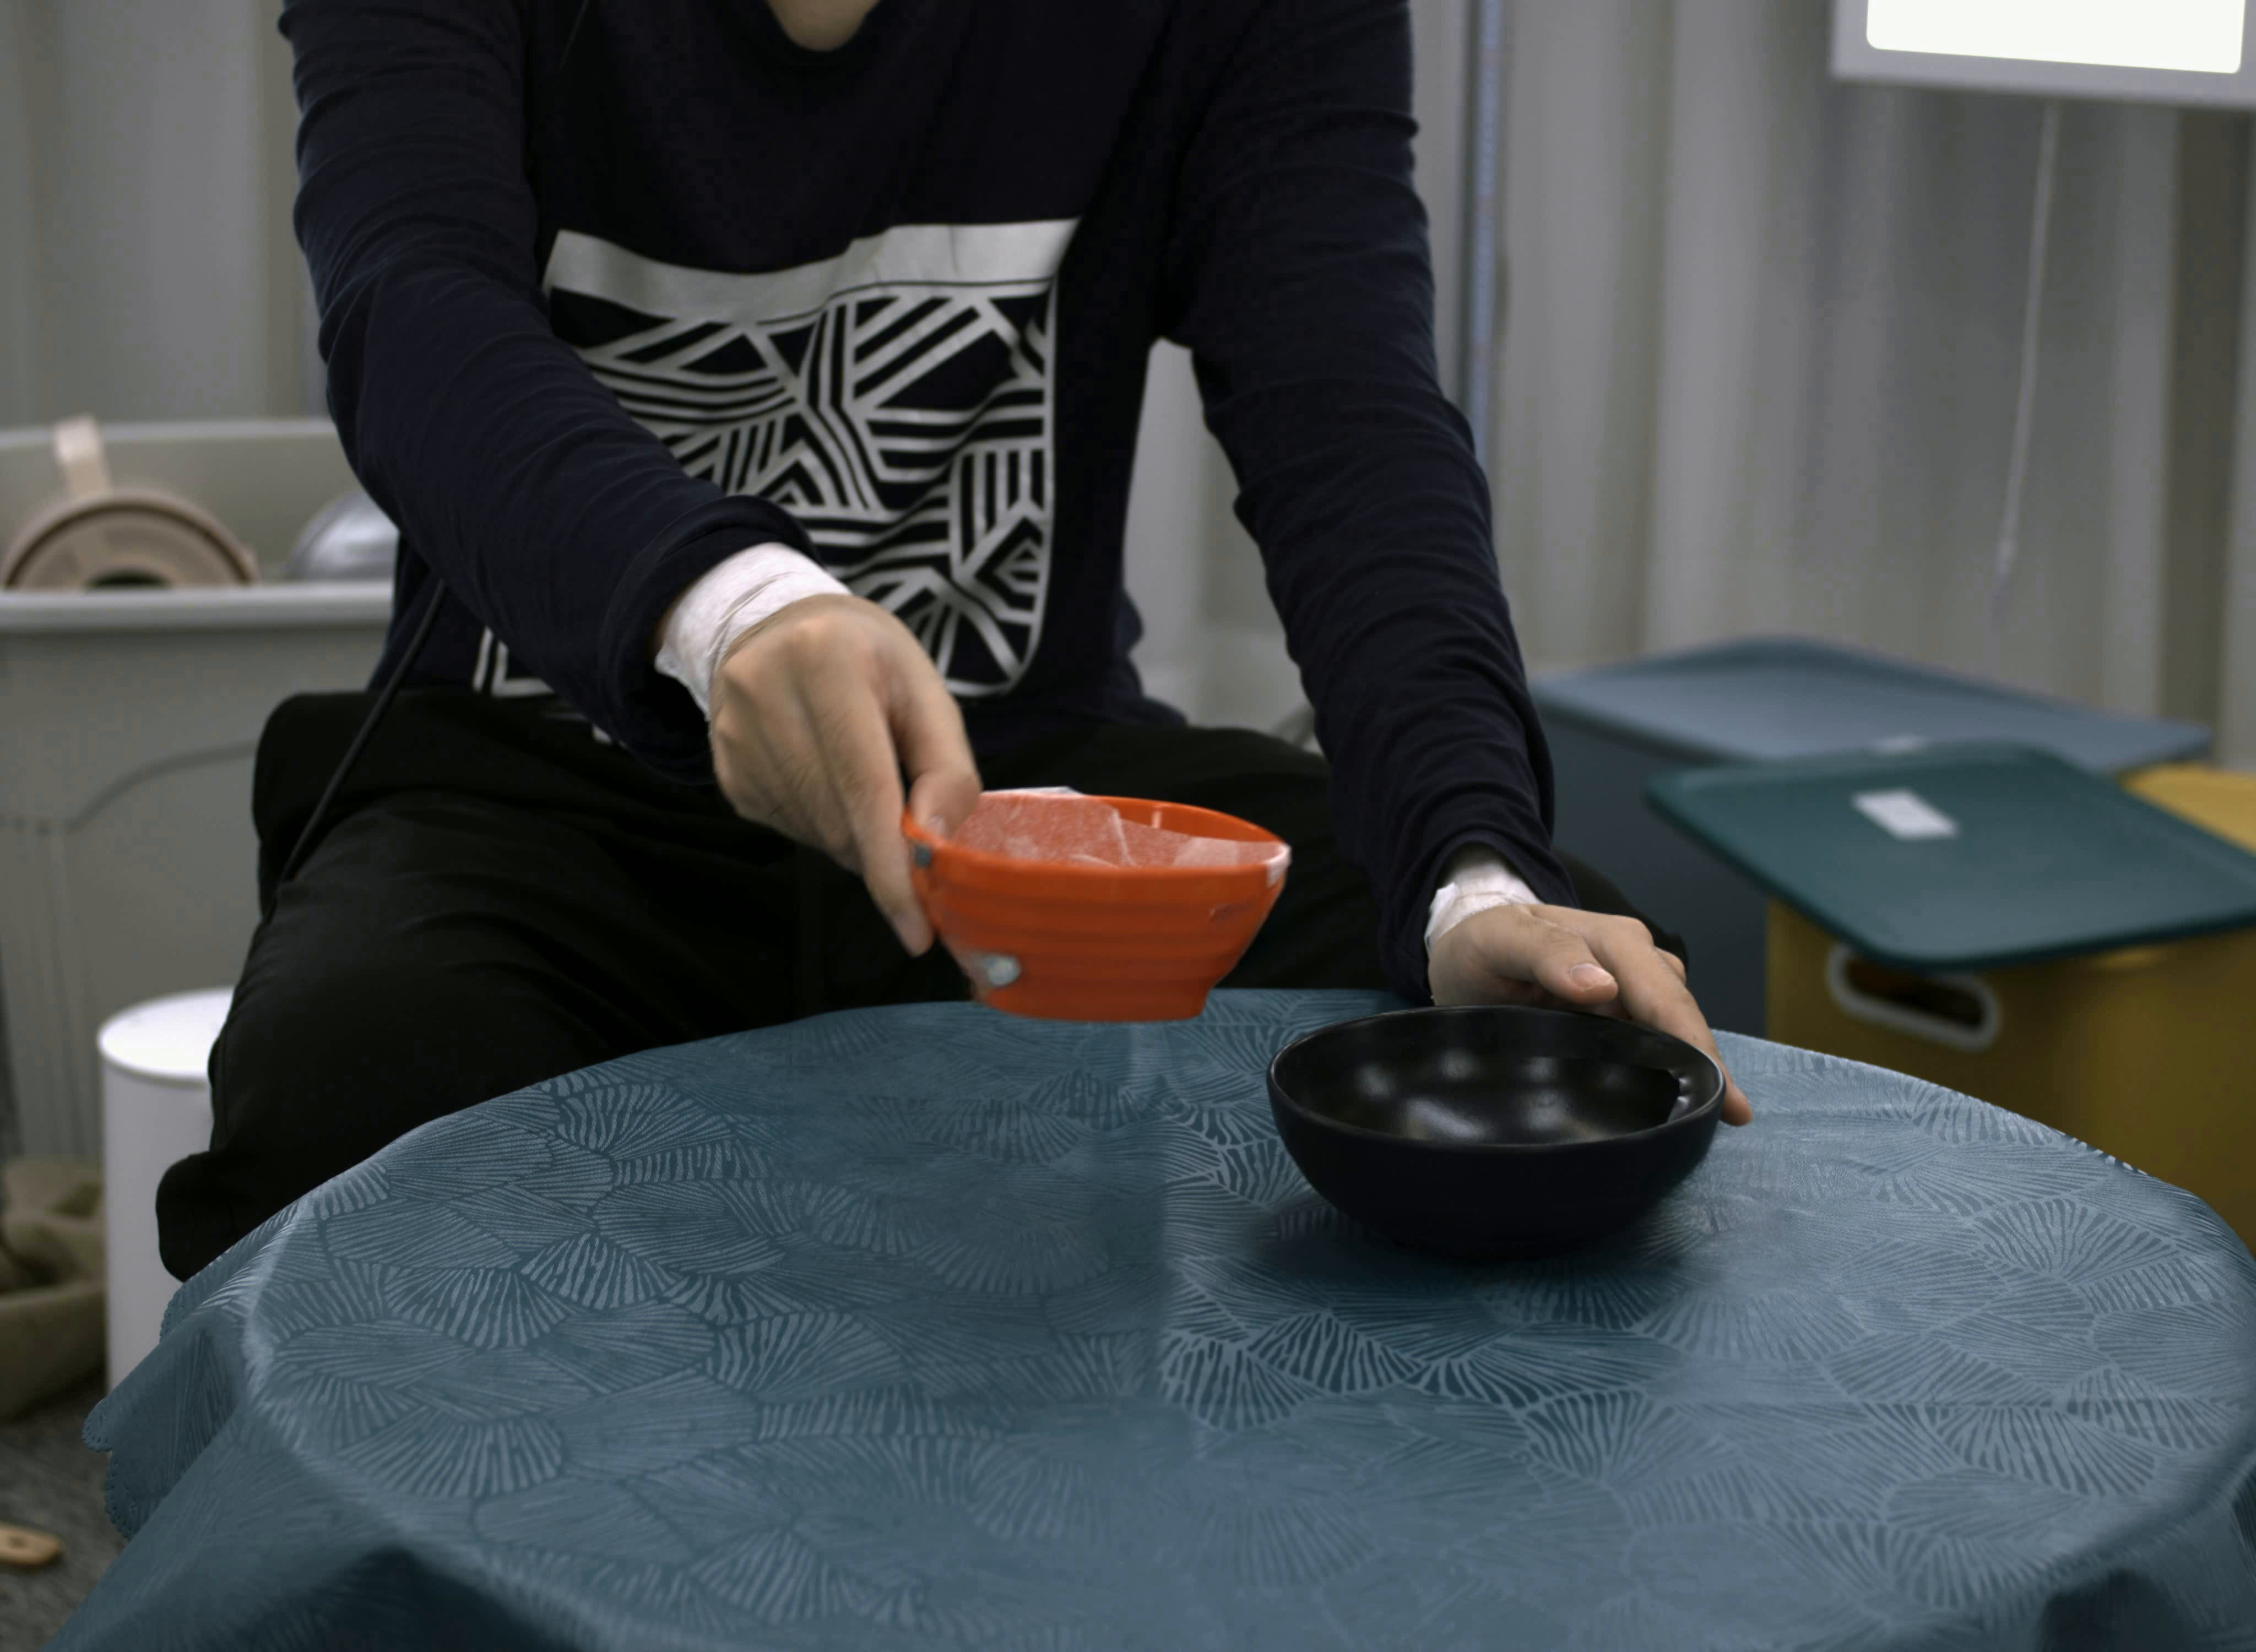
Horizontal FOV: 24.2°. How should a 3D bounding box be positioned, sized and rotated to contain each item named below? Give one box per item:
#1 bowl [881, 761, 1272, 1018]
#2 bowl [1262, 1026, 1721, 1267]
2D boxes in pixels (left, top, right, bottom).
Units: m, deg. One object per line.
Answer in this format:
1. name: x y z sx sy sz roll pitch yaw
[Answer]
1. bowl: -0.015 0.020 1.521 0.118 0.052 0.118 -1 17 1
2. bowl: 0.110 0.100 1.592 0.139 0.050 0.139 -1 11 1
